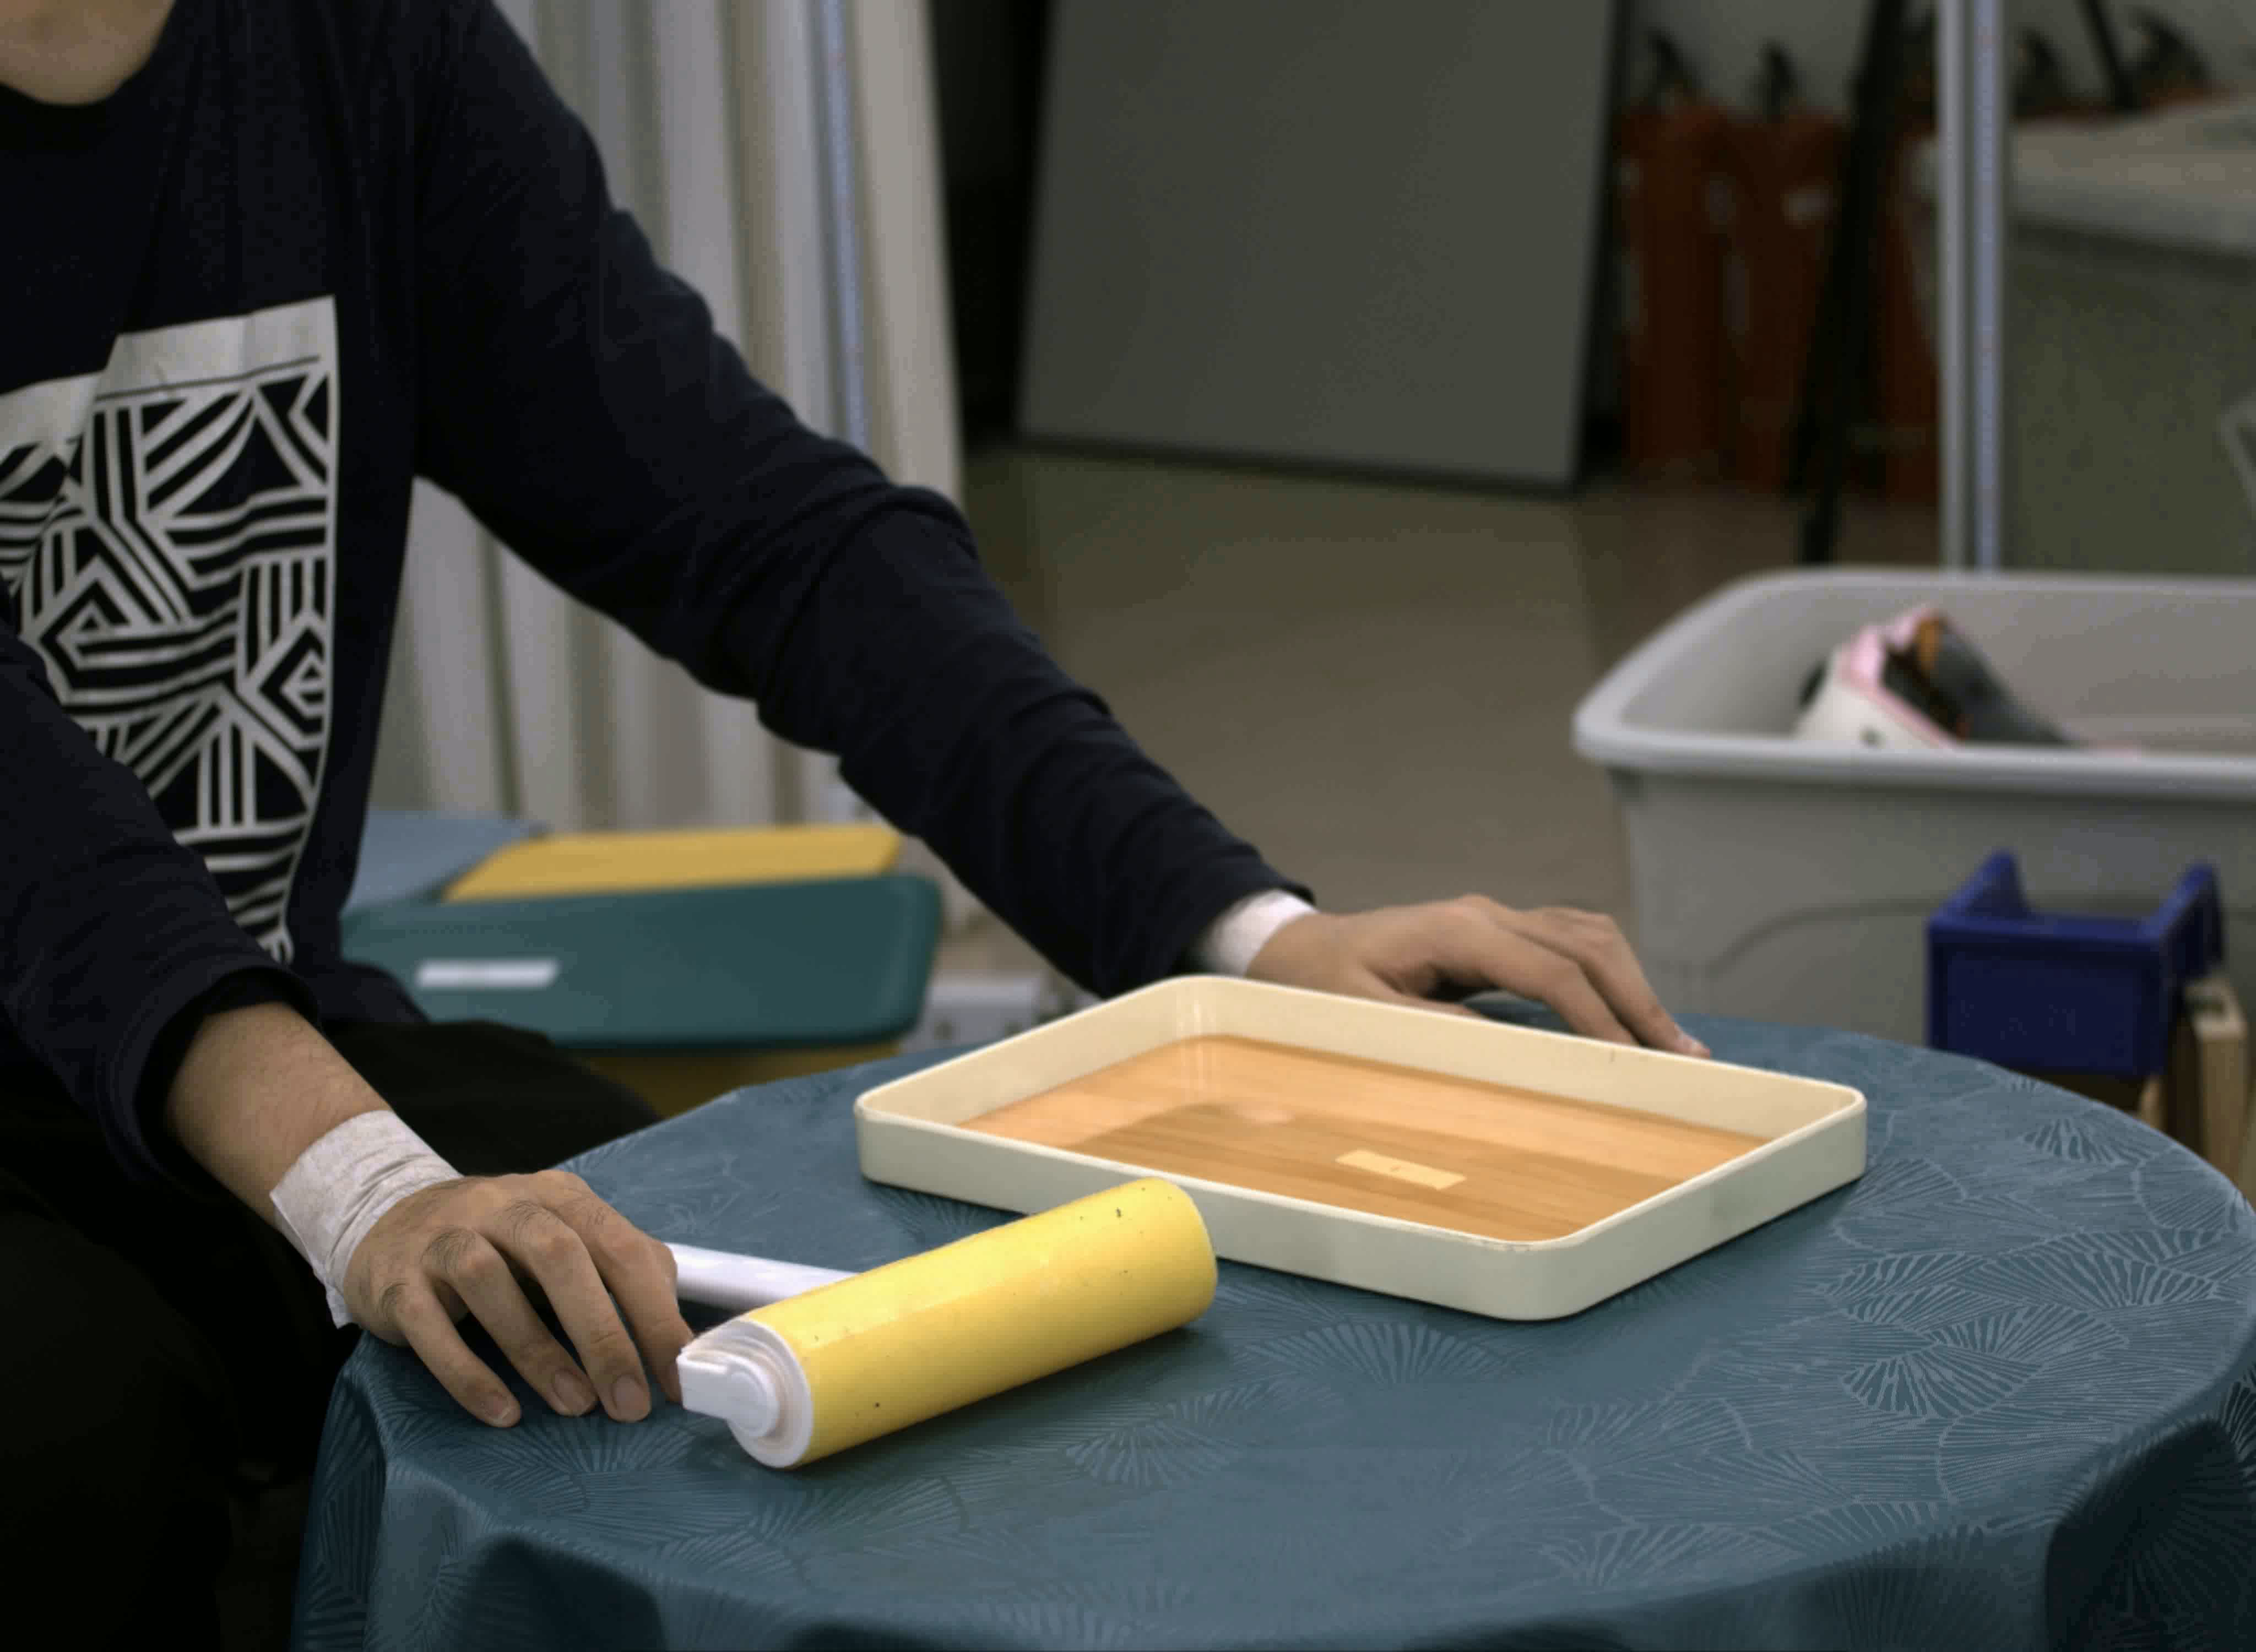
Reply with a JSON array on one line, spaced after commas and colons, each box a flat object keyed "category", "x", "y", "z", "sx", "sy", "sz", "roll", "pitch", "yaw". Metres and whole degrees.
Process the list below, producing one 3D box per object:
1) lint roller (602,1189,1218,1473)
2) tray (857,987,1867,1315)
[{"category": "lint roller", "x": -0.095, "y": 0.136, "z": 1.639, "sx": 0.170, "sy": 0.052, "sz": 0.194, "roll": -15, "pitch": 20, "yaw": -41}, {"category": "tray", "x": 0.075, "y": 0.103, "z": 1.772, "sx": 0.303, "sy": 0.028, "sz": 0.188, "roll": 8, "pitch": 17, "yaw": 42}]
